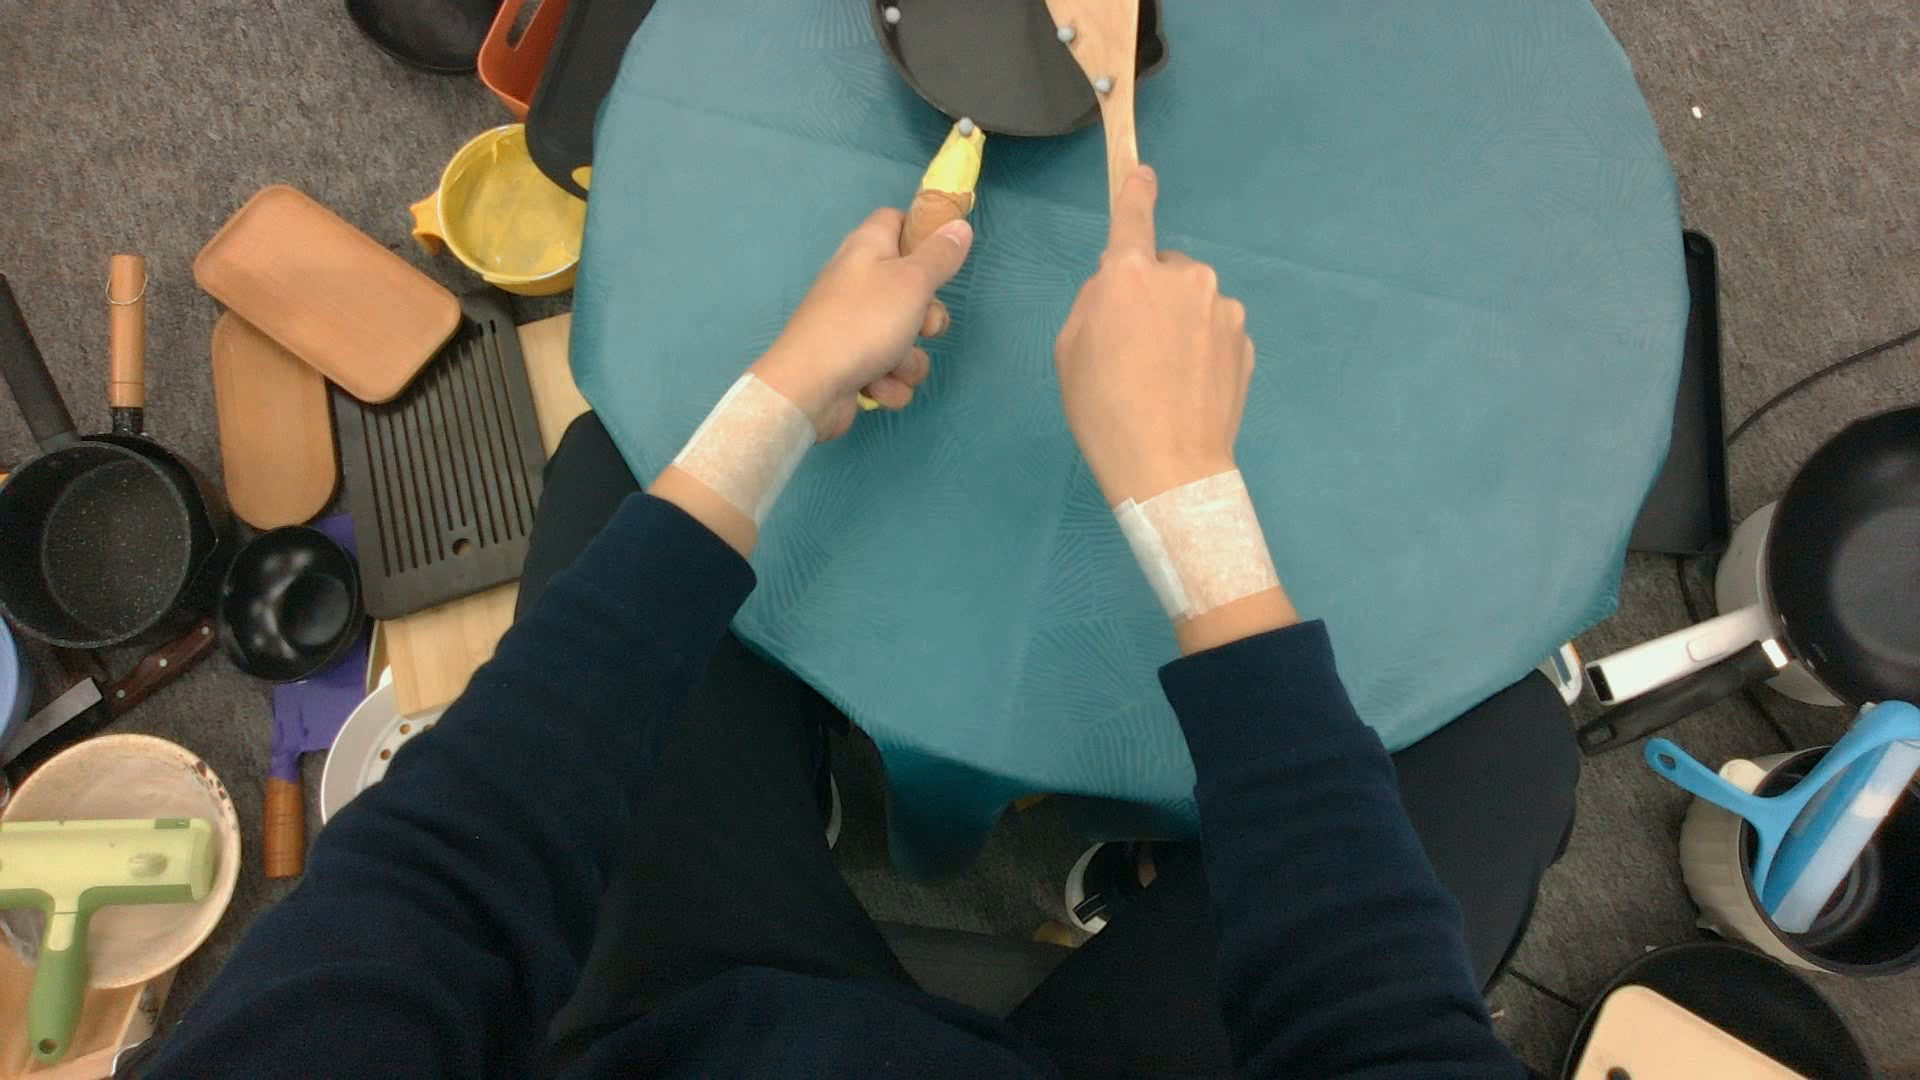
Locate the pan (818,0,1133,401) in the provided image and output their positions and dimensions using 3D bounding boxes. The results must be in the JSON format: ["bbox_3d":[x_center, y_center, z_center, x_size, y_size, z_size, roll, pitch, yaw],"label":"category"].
[{"bbox_3d":[-0.015,-0.211,0.709,0.169,0.049,0.325,20,71,-3],"label":"pan"}]

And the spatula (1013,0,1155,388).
[{"bbox_3d":[0.057,-0.213,0.667,0.016,0.079,0.329,11,58,-30],"label":"spatula"}]
